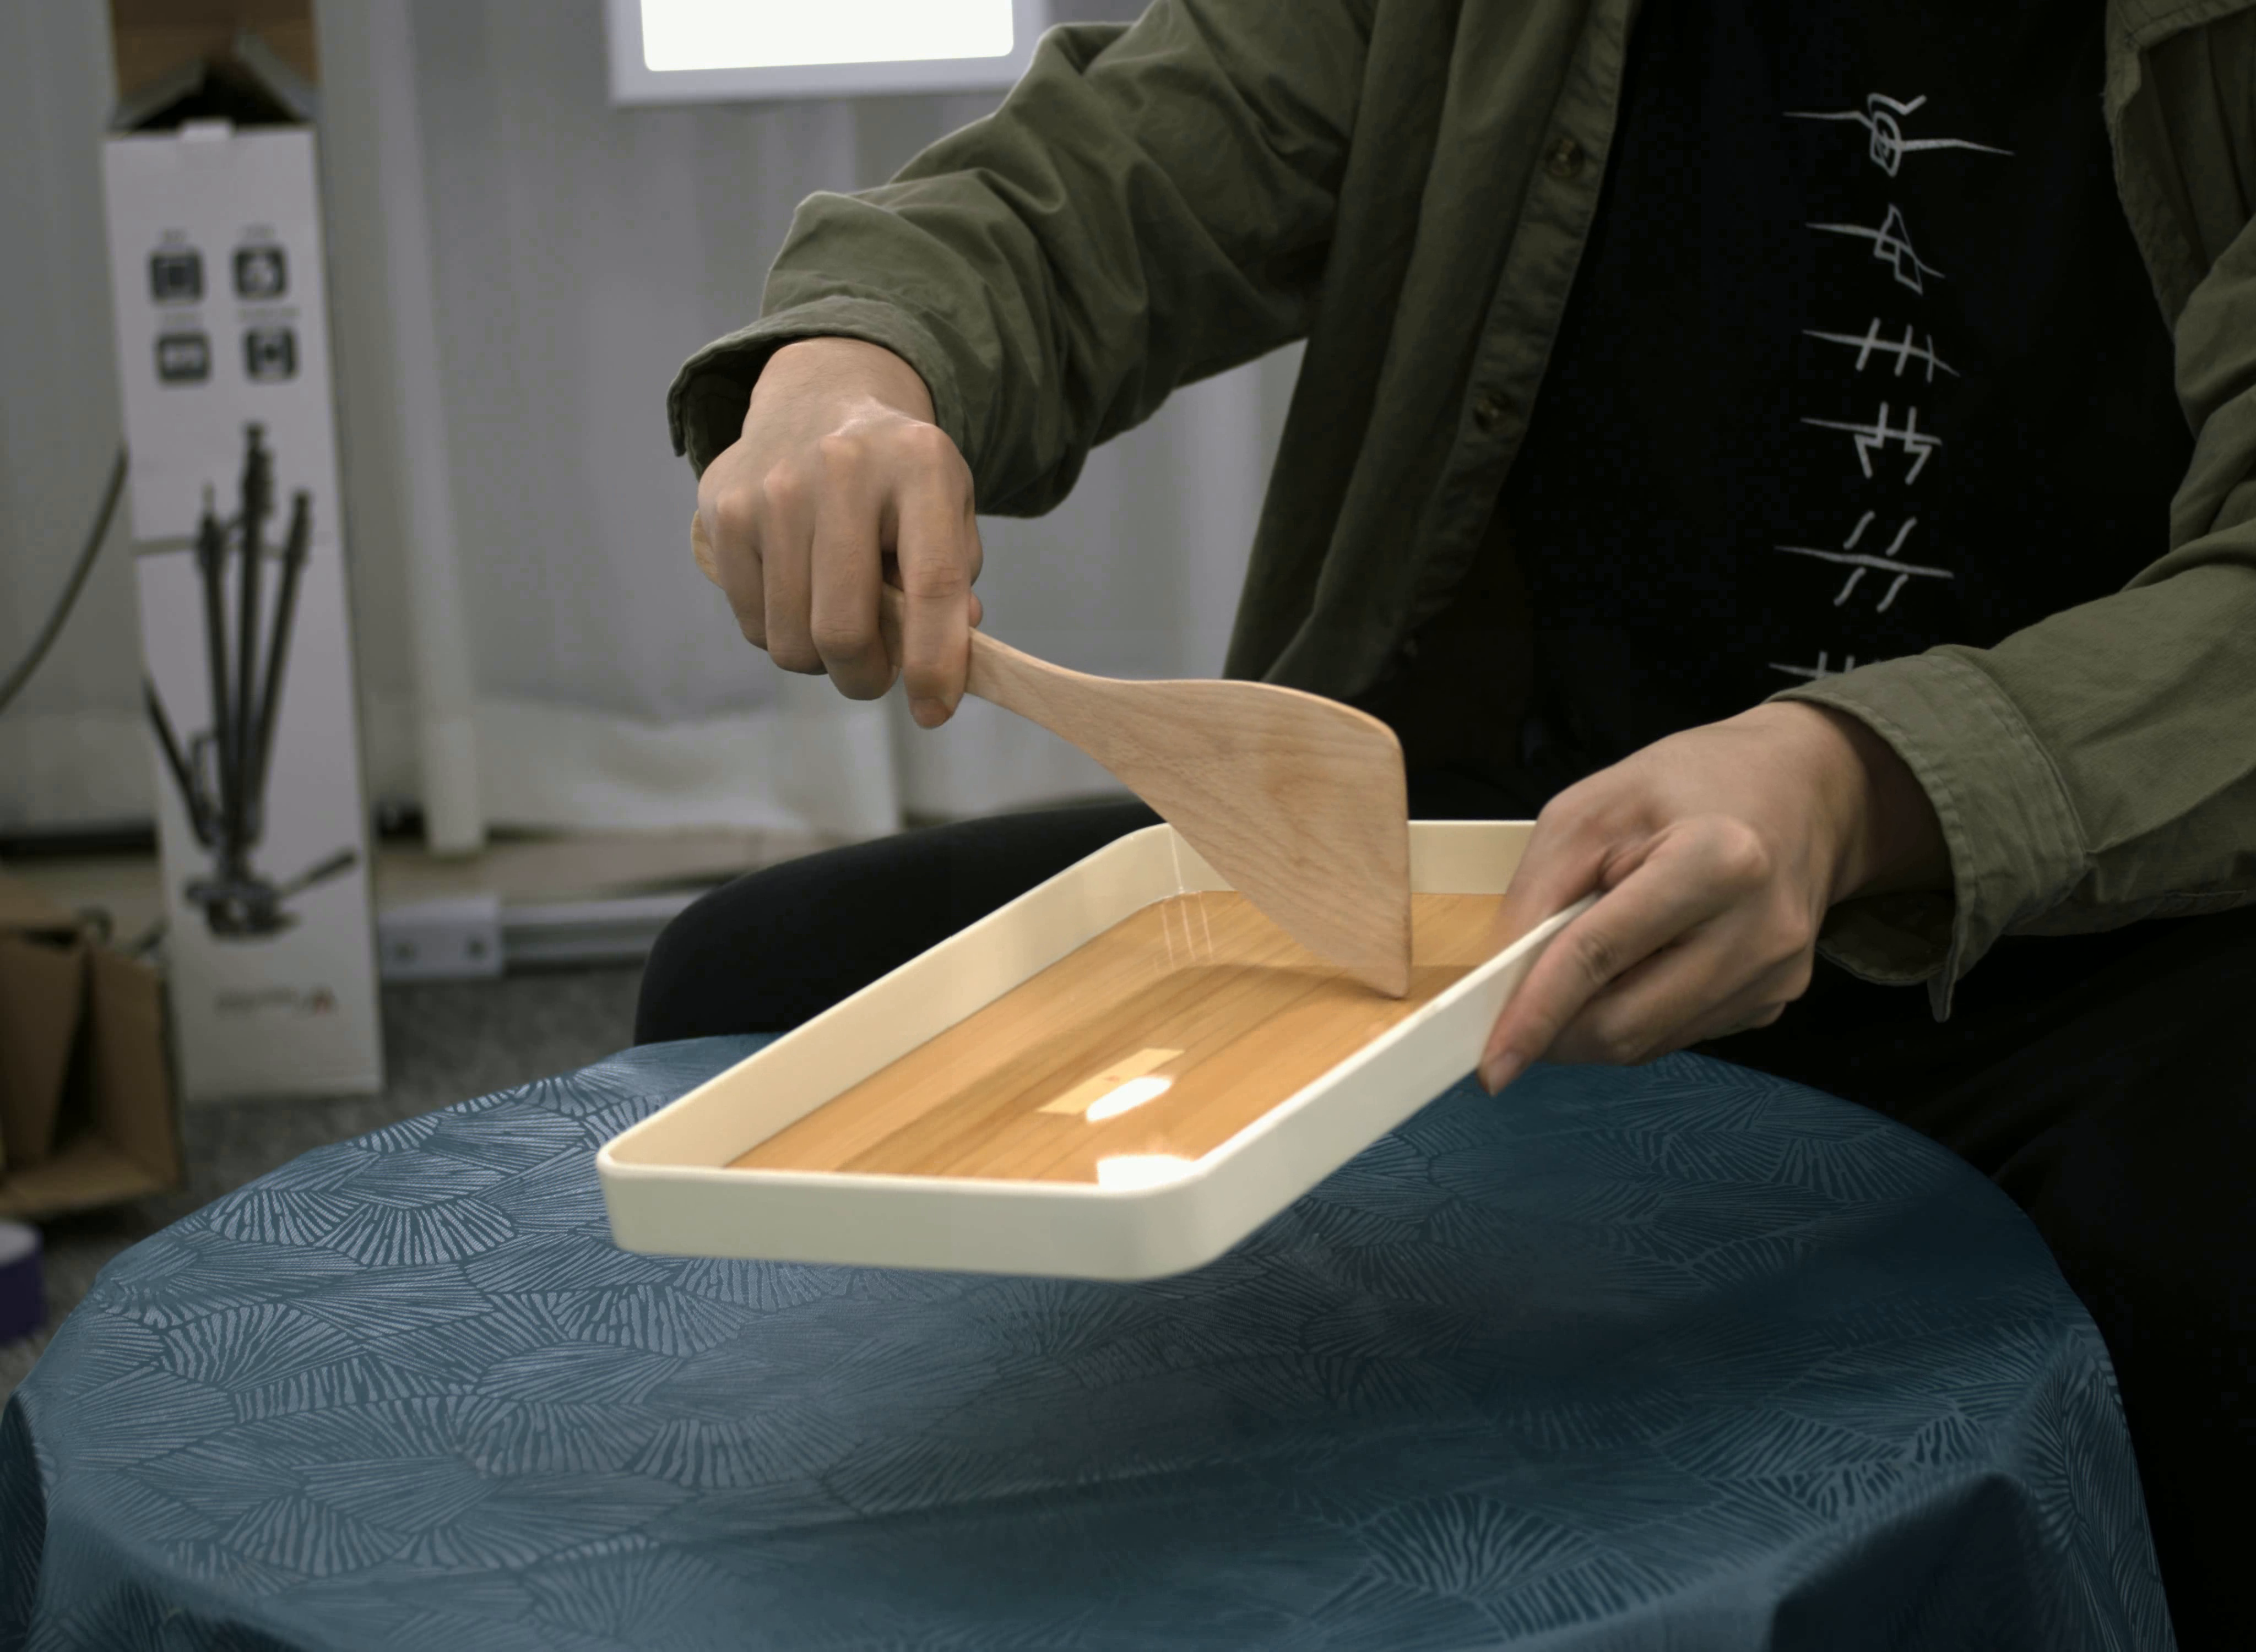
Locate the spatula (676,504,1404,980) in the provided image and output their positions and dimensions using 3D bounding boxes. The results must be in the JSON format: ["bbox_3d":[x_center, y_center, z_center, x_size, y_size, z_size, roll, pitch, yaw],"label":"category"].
[{"bbox_3d":[-0.031,-0.042,1.628,0.016,0.079,0.330,-17,30,-41],"label":"spatula"}]

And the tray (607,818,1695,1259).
[{"bbox_3d":[0.013,0.053,1.520,0.192,0.027,0.301,0,17,34],"label":"tray"}]
